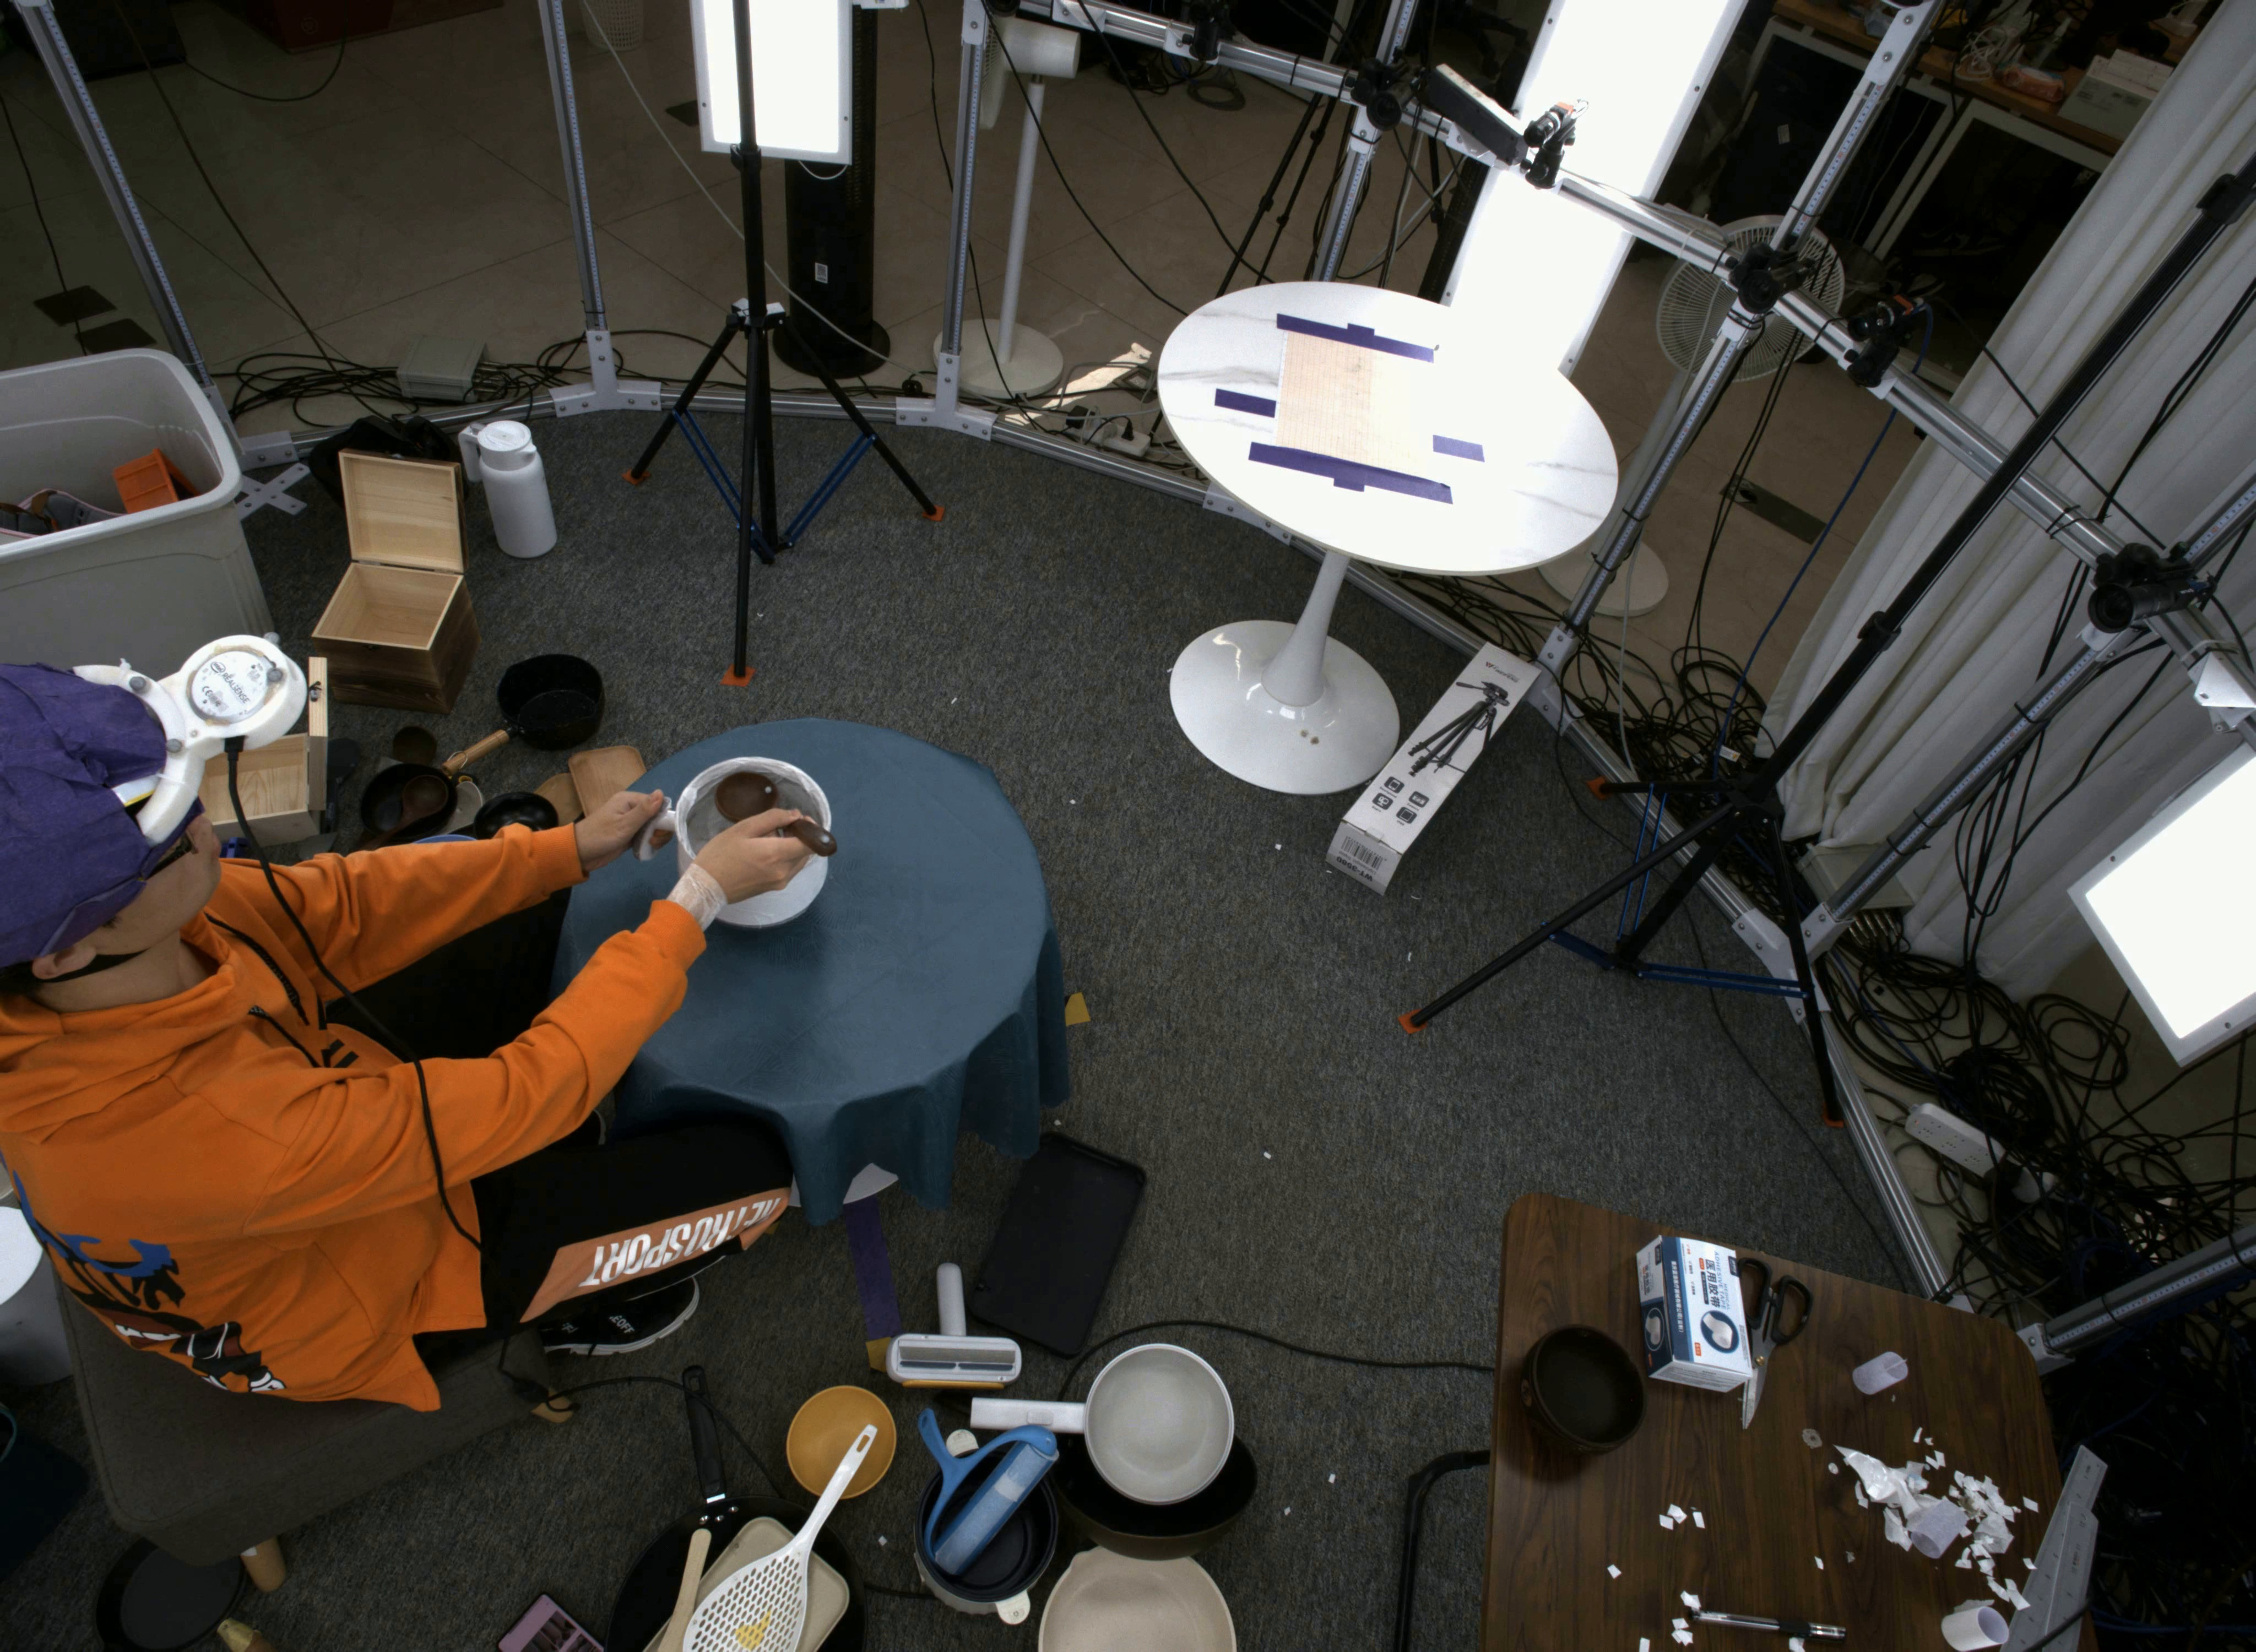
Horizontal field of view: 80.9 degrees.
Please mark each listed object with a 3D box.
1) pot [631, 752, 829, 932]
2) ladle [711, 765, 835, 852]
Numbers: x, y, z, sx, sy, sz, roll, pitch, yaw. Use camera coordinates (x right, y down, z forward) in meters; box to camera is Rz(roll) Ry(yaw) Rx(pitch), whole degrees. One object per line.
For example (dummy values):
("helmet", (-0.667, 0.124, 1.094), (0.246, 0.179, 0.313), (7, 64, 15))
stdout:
("pot", (-0.472, 0.019, 1.523), (0.234, 0.139, 0.175), (9, 54, -12))
("ladle", (-0.389, -0.022, 1.426), (0.077, 0.067, 0.251), (-27, 23, -30))
